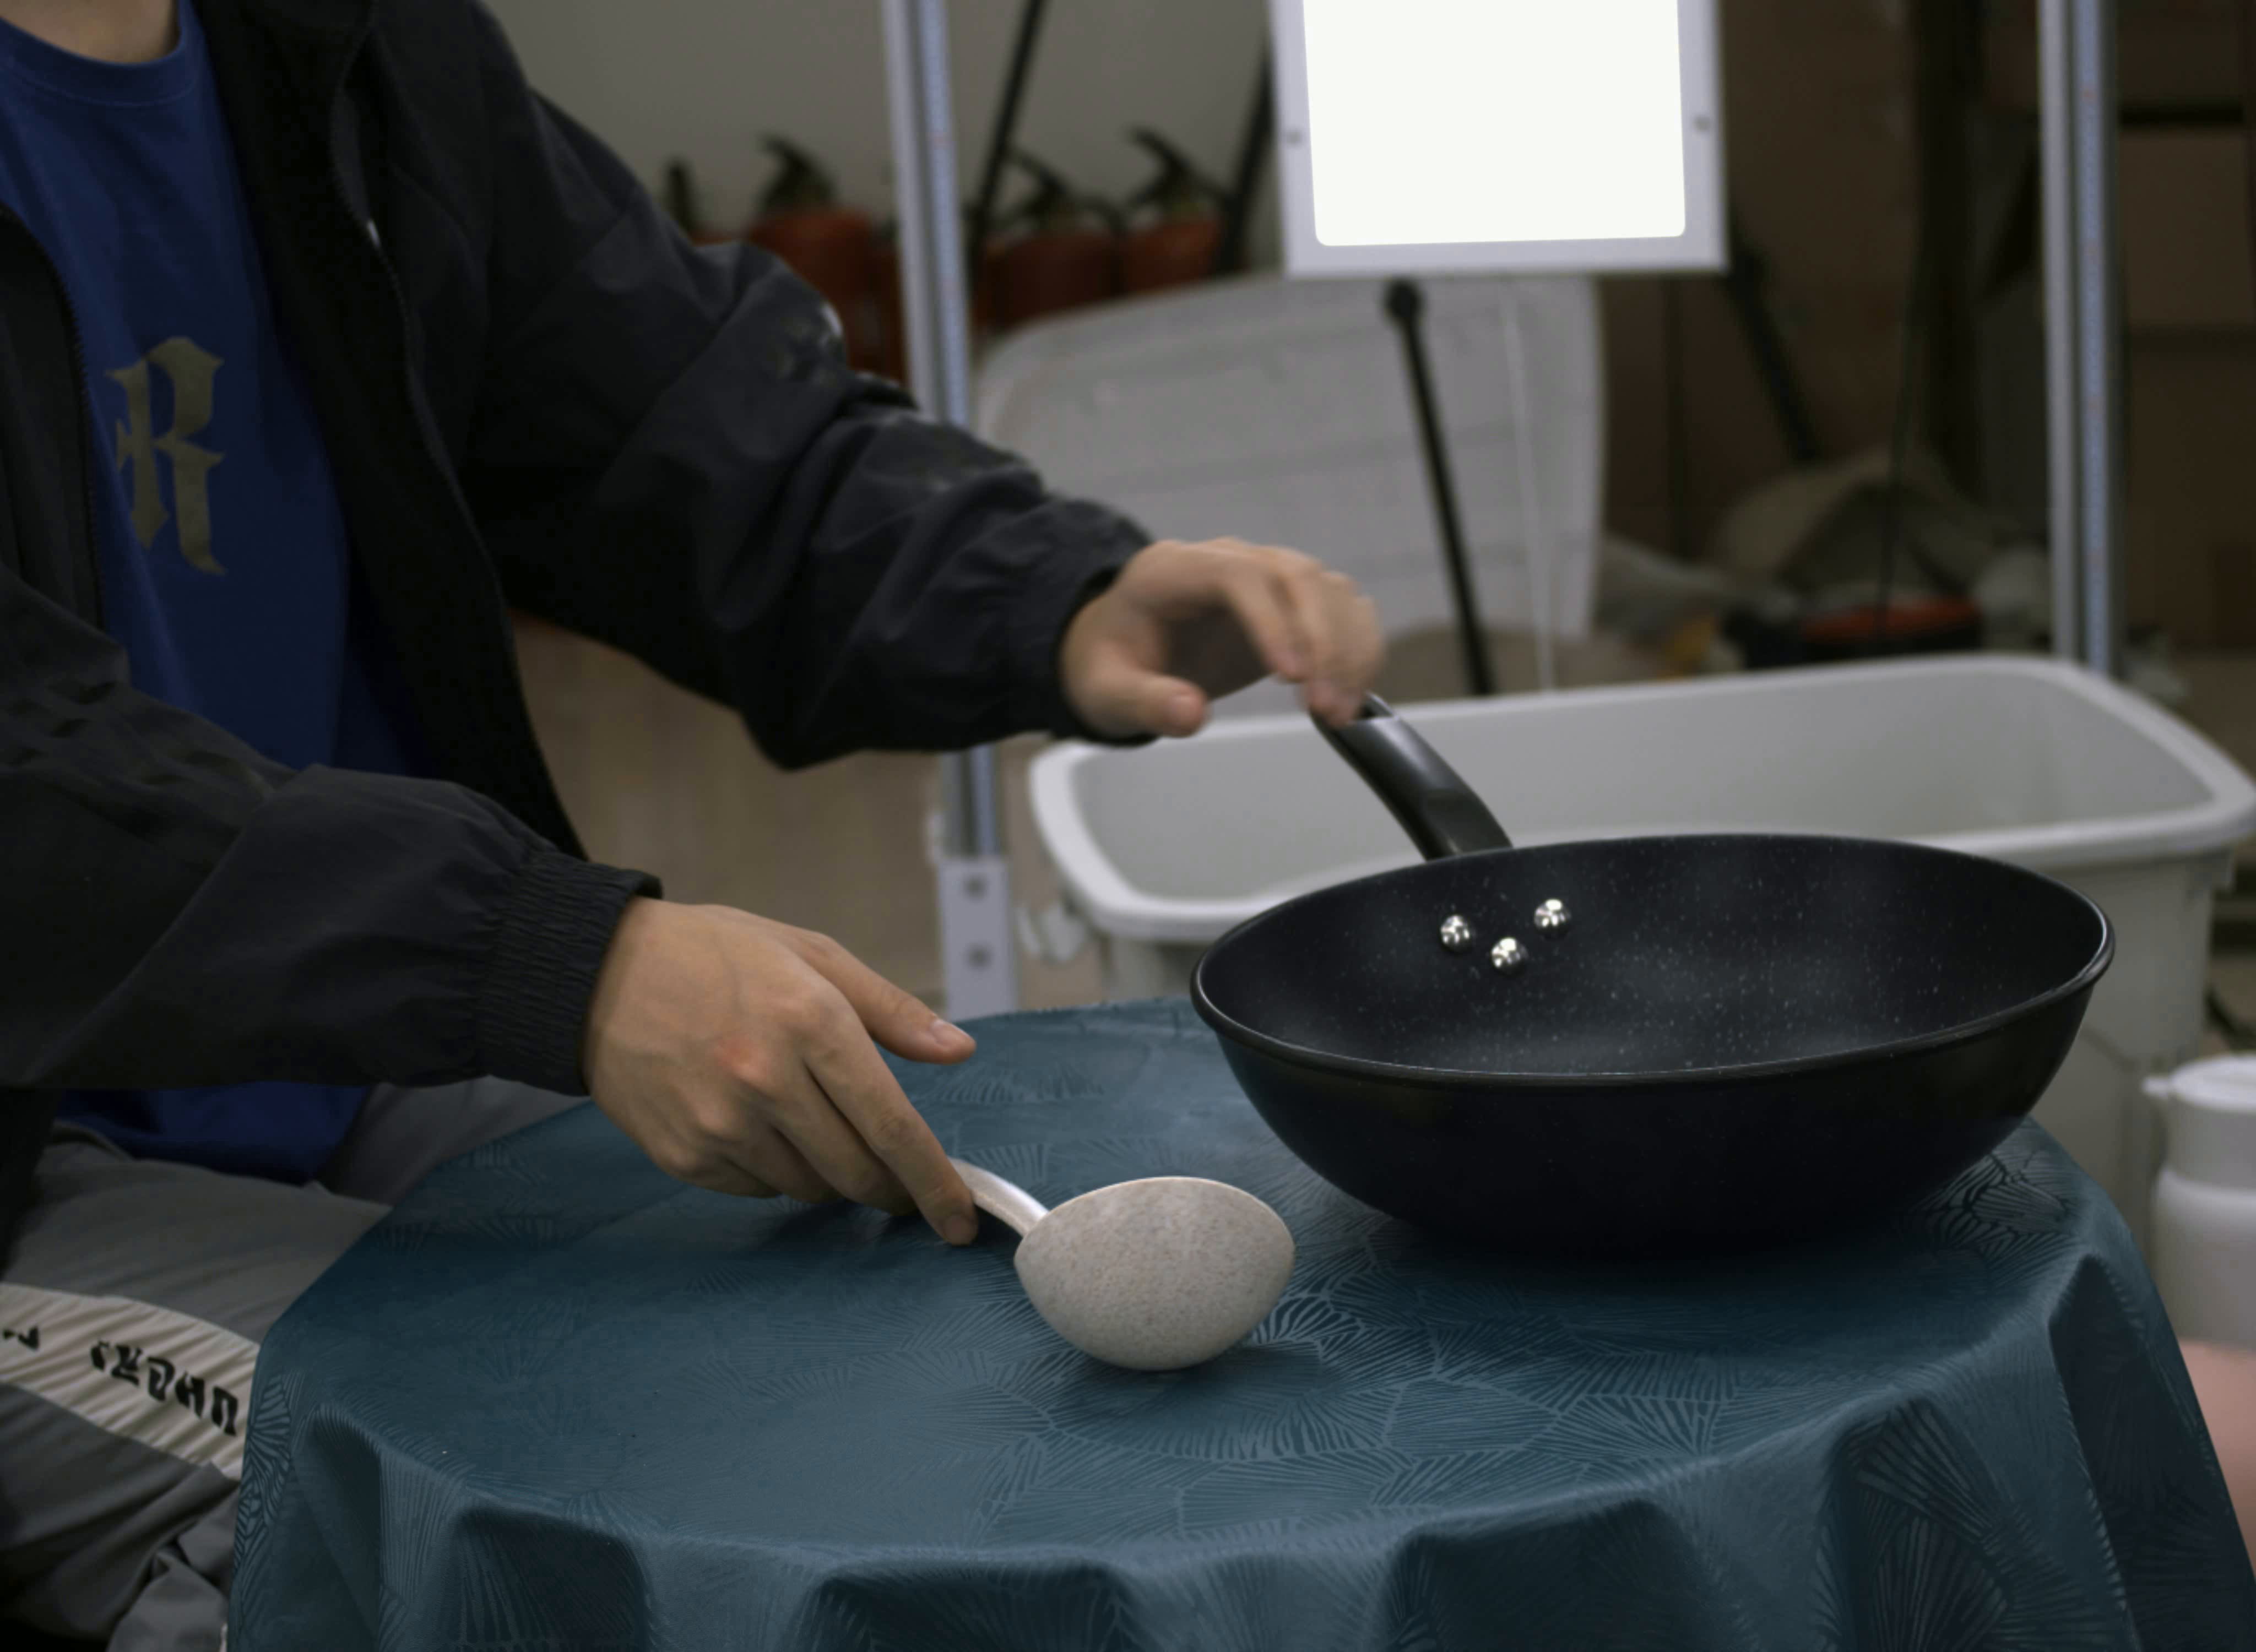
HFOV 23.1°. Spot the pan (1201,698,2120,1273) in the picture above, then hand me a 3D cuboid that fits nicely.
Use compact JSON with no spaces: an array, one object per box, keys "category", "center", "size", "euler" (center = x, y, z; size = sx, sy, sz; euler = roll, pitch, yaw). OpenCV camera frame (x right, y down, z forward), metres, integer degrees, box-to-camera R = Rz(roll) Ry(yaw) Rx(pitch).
[{"category":"pan","center":[0.156,0.055,1.911],"size":[0.306,0.112,0.481],"euler":[-7,14,-15]}]

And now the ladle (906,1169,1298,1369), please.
[{"category":"ladle","center":[-0.024,0.117,1.808],"size":[0.088,0.070,0.278],"euler":[7,8,-19]}]
